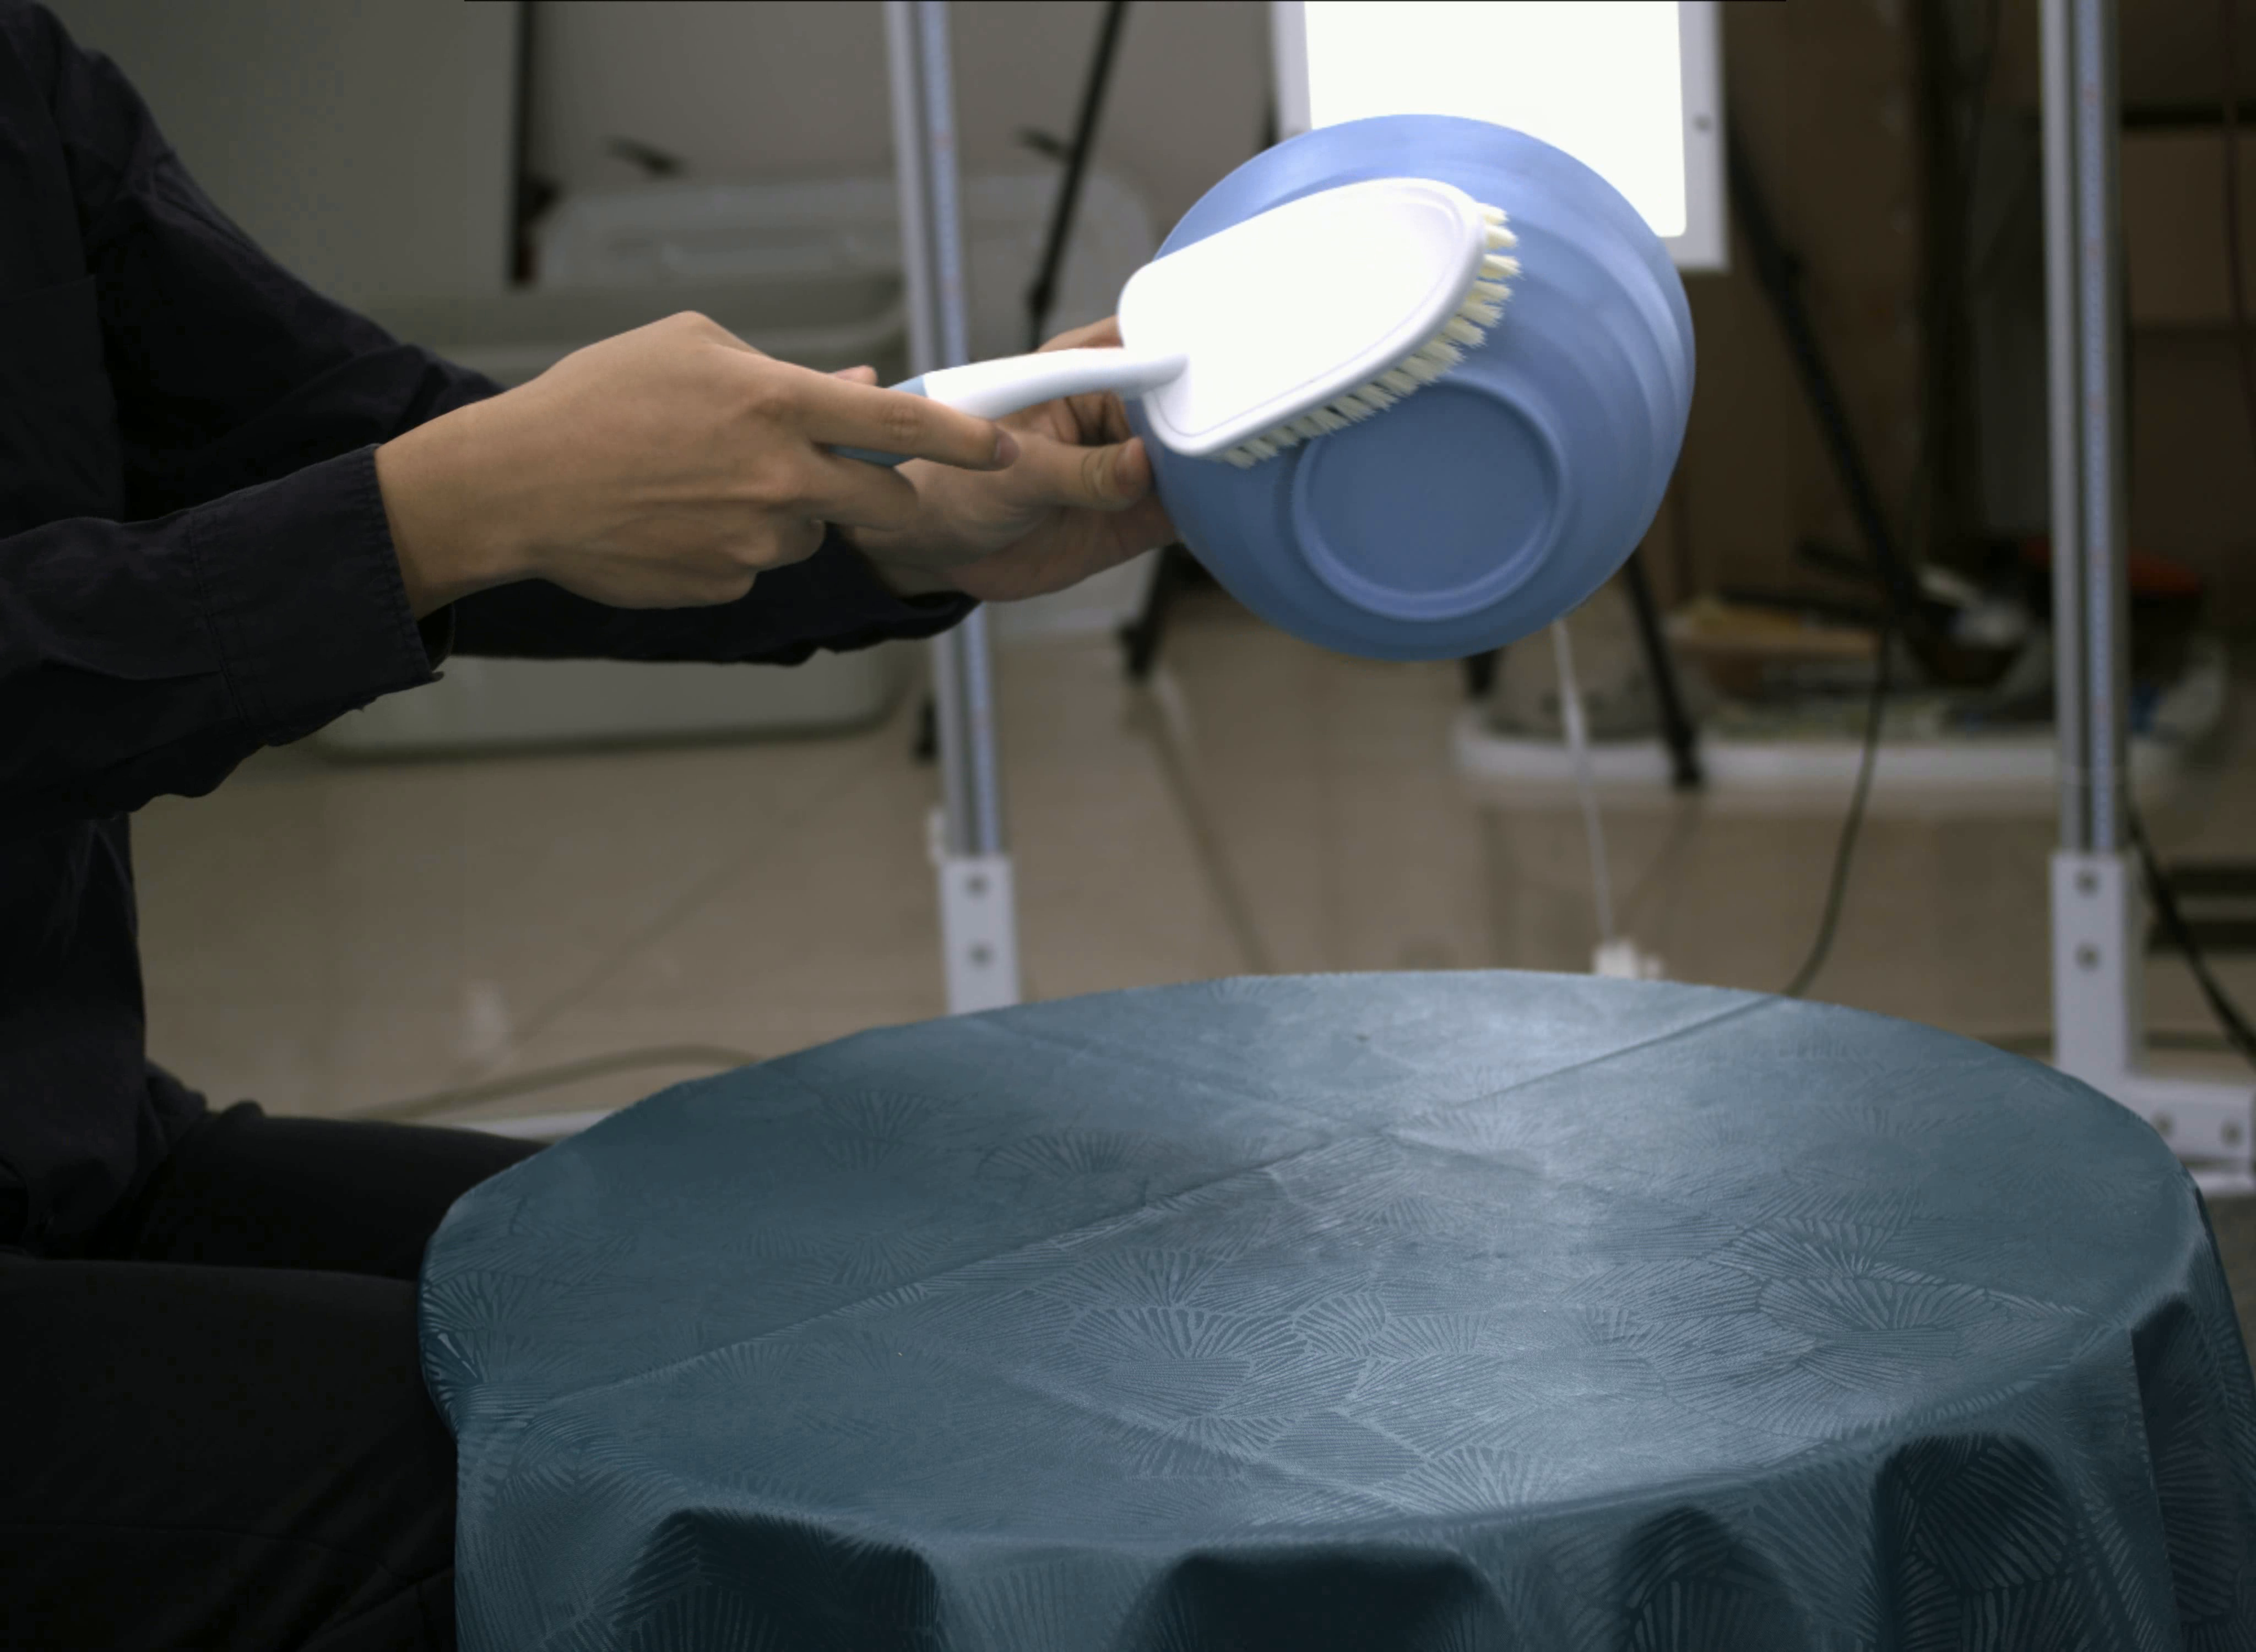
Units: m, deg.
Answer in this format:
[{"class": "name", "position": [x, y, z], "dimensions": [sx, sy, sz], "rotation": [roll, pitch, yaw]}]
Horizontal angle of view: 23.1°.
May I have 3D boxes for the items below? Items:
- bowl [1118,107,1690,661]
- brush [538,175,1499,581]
[{"class": "bowl", "position": [0.096, -0.131, 1.832], "dimensions": [0.196, 0.197, 0.095], "rotation": [-3, 32, 3]}, {"class": "brush", "position": [-0.034, -0.139, 1.781], "dimensions": [0.328, 0.084, 0.083], "rotation": [-19, 40, 11]}]
